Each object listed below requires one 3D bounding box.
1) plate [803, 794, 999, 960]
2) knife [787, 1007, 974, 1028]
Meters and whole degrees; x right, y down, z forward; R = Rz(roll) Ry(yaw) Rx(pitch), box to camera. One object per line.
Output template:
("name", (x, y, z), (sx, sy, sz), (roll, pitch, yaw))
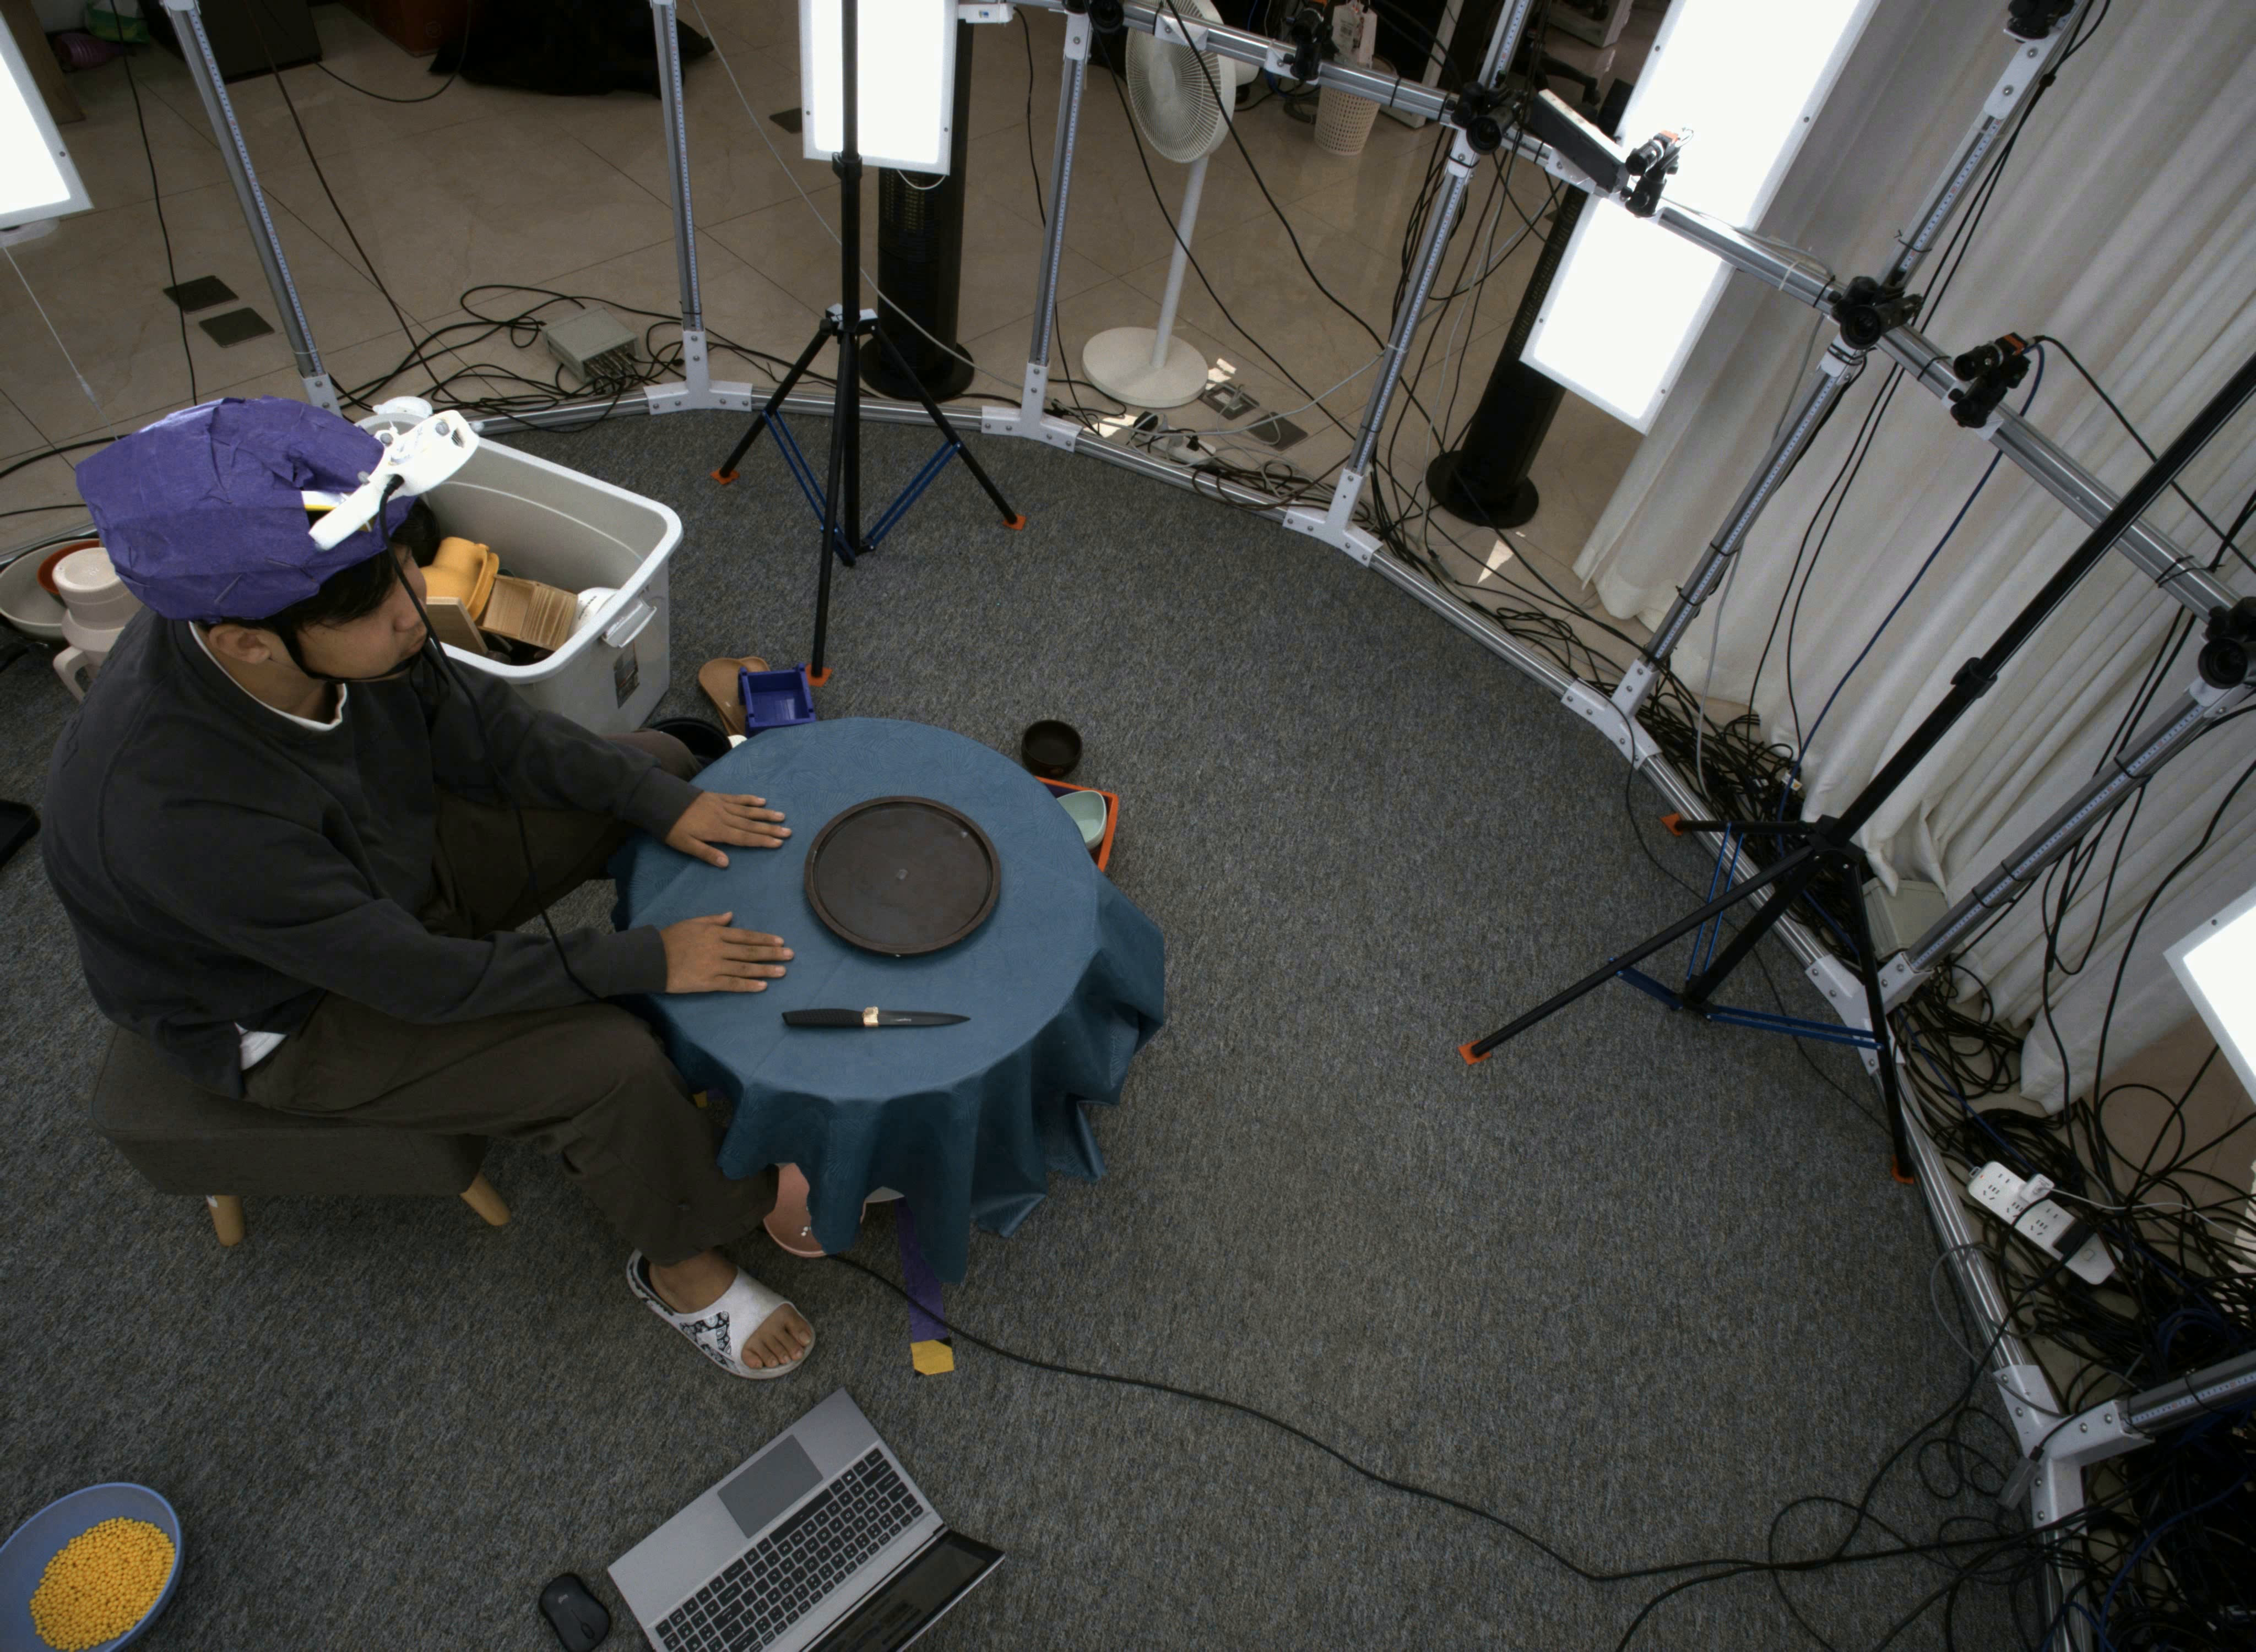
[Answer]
("plate", (-0.293, 0.063, 1.691), (0.254, 0.029, 0.250), (7, 54, -8))
("knife", (-0.298, 0.229, 1.574), (0.226, 0.017, 0.025), (1, 48, -15))
